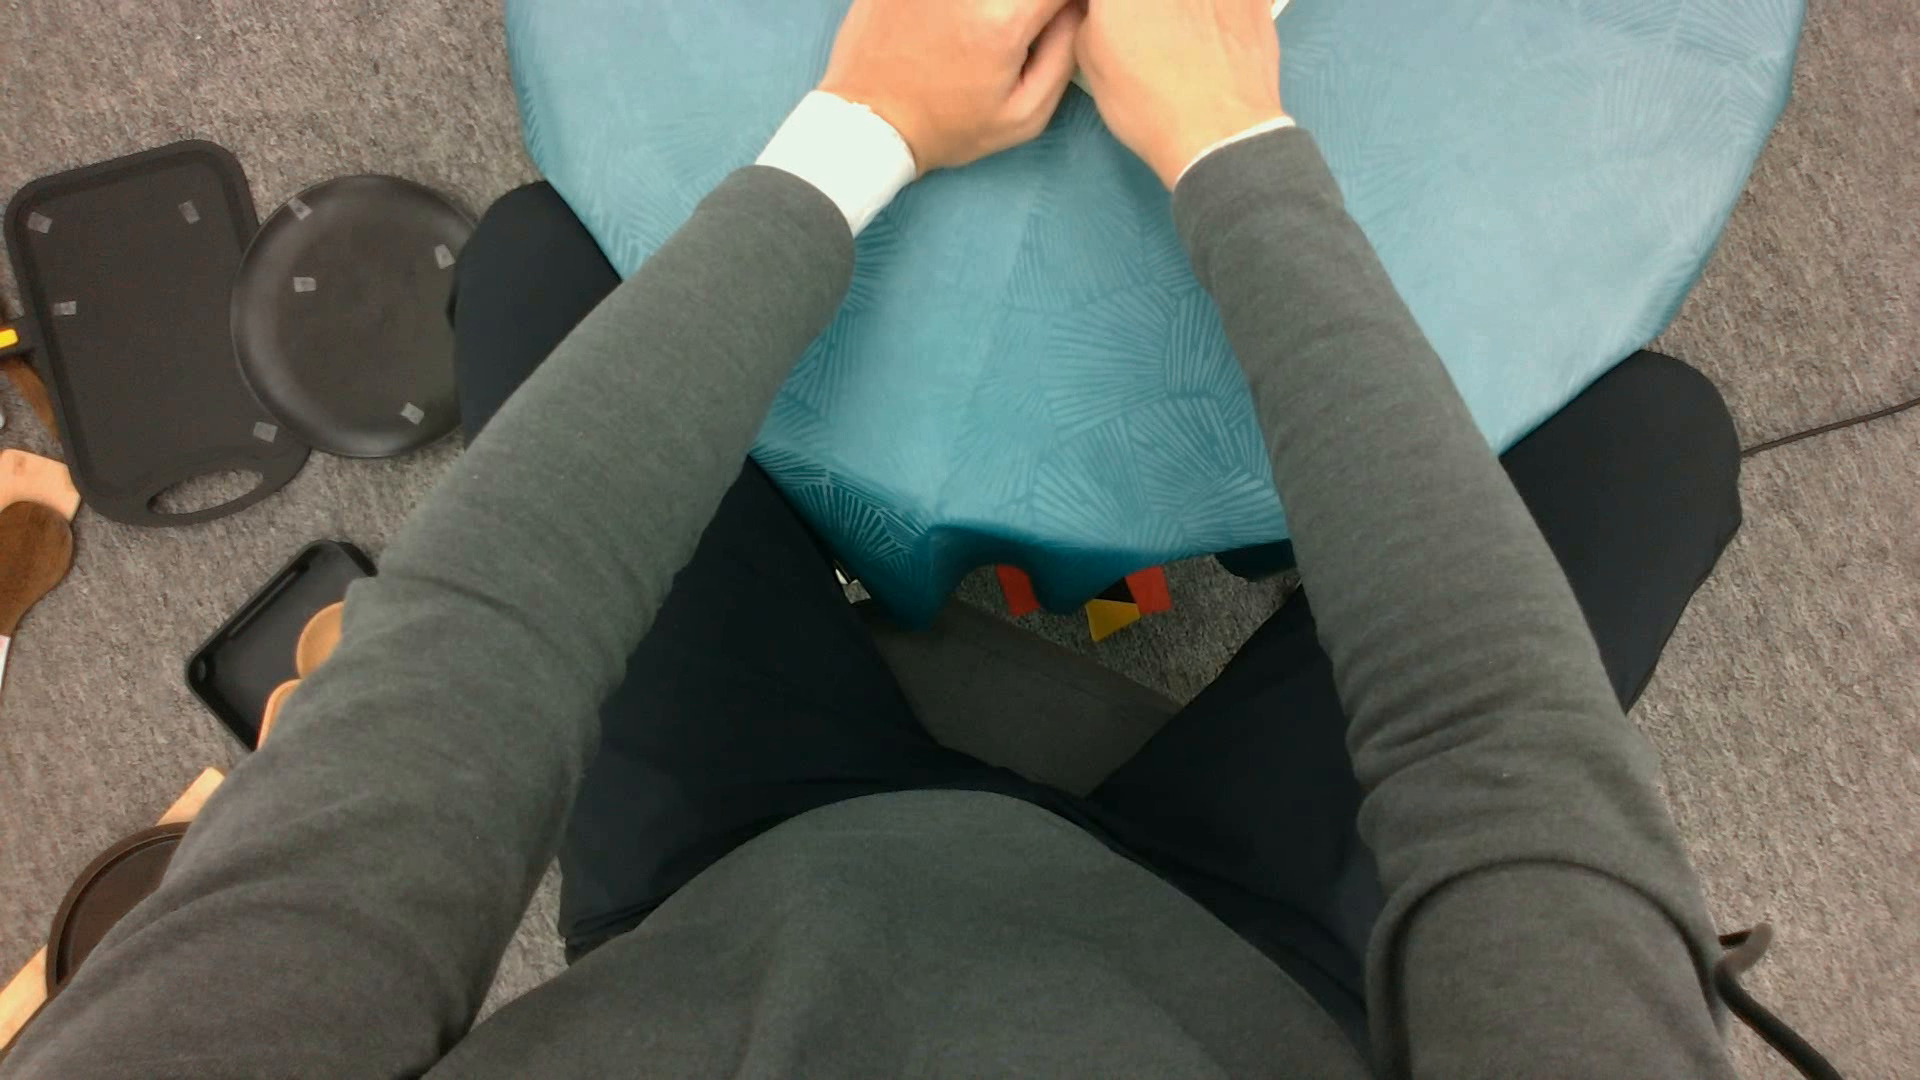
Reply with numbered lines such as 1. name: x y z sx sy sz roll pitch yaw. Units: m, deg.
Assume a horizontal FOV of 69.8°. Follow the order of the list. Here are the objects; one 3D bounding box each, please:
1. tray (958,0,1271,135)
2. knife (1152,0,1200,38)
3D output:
1. tray: 0.028 -0.343 0.618 0.300 0.027 0.191 38 93 0
2. knife: 0.042 -0.326 0.603 0.016 0.024 0.238 -30 89 6
